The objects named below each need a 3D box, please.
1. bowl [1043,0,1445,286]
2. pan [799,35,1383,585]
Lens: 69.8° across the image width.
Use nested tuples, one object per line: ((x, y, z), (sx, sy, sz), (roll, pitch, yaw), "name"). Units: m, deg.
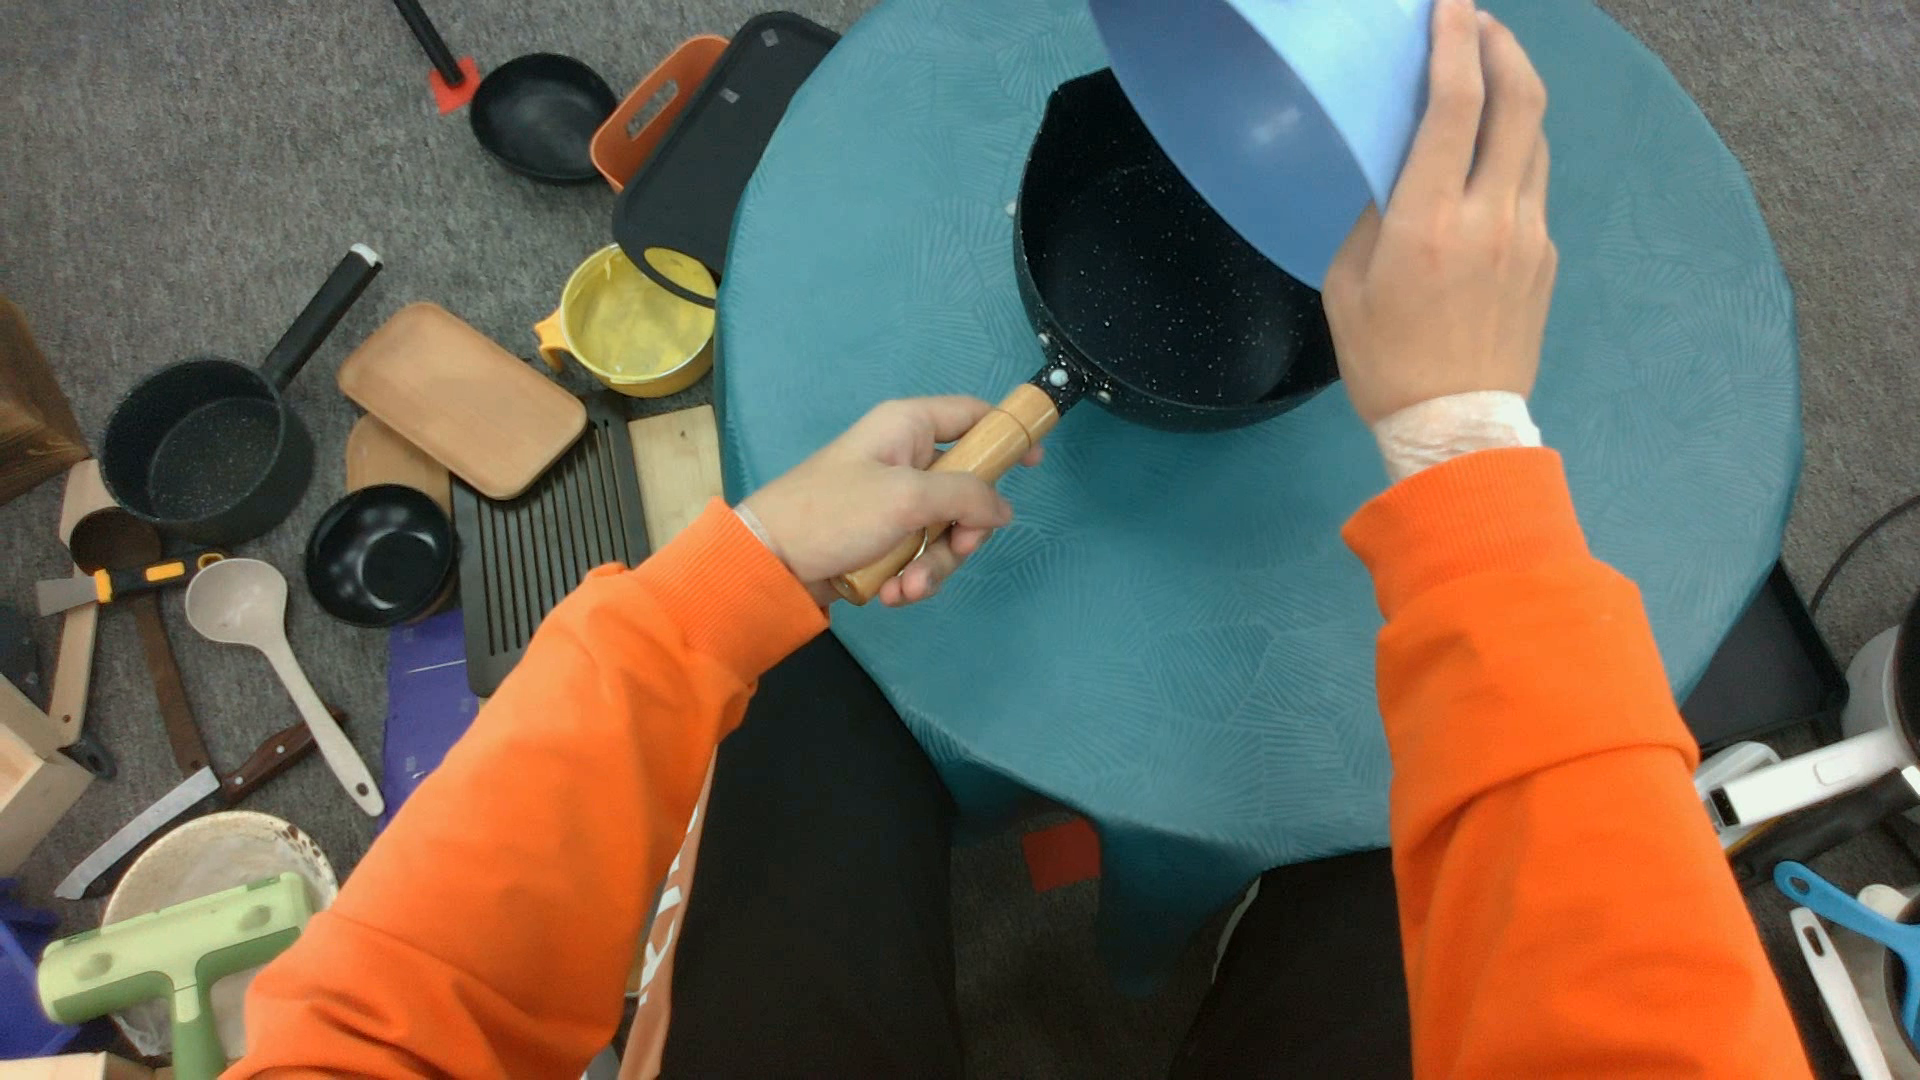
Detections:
((0.135, -0.212, 0.593), (0.095, 0.196, 0.196), (-44, 76, -1), "bowl")
((0.054, -0.093, 0.660), (0.207, 0.108, 0.343), (43, 76, 5), "pan")
